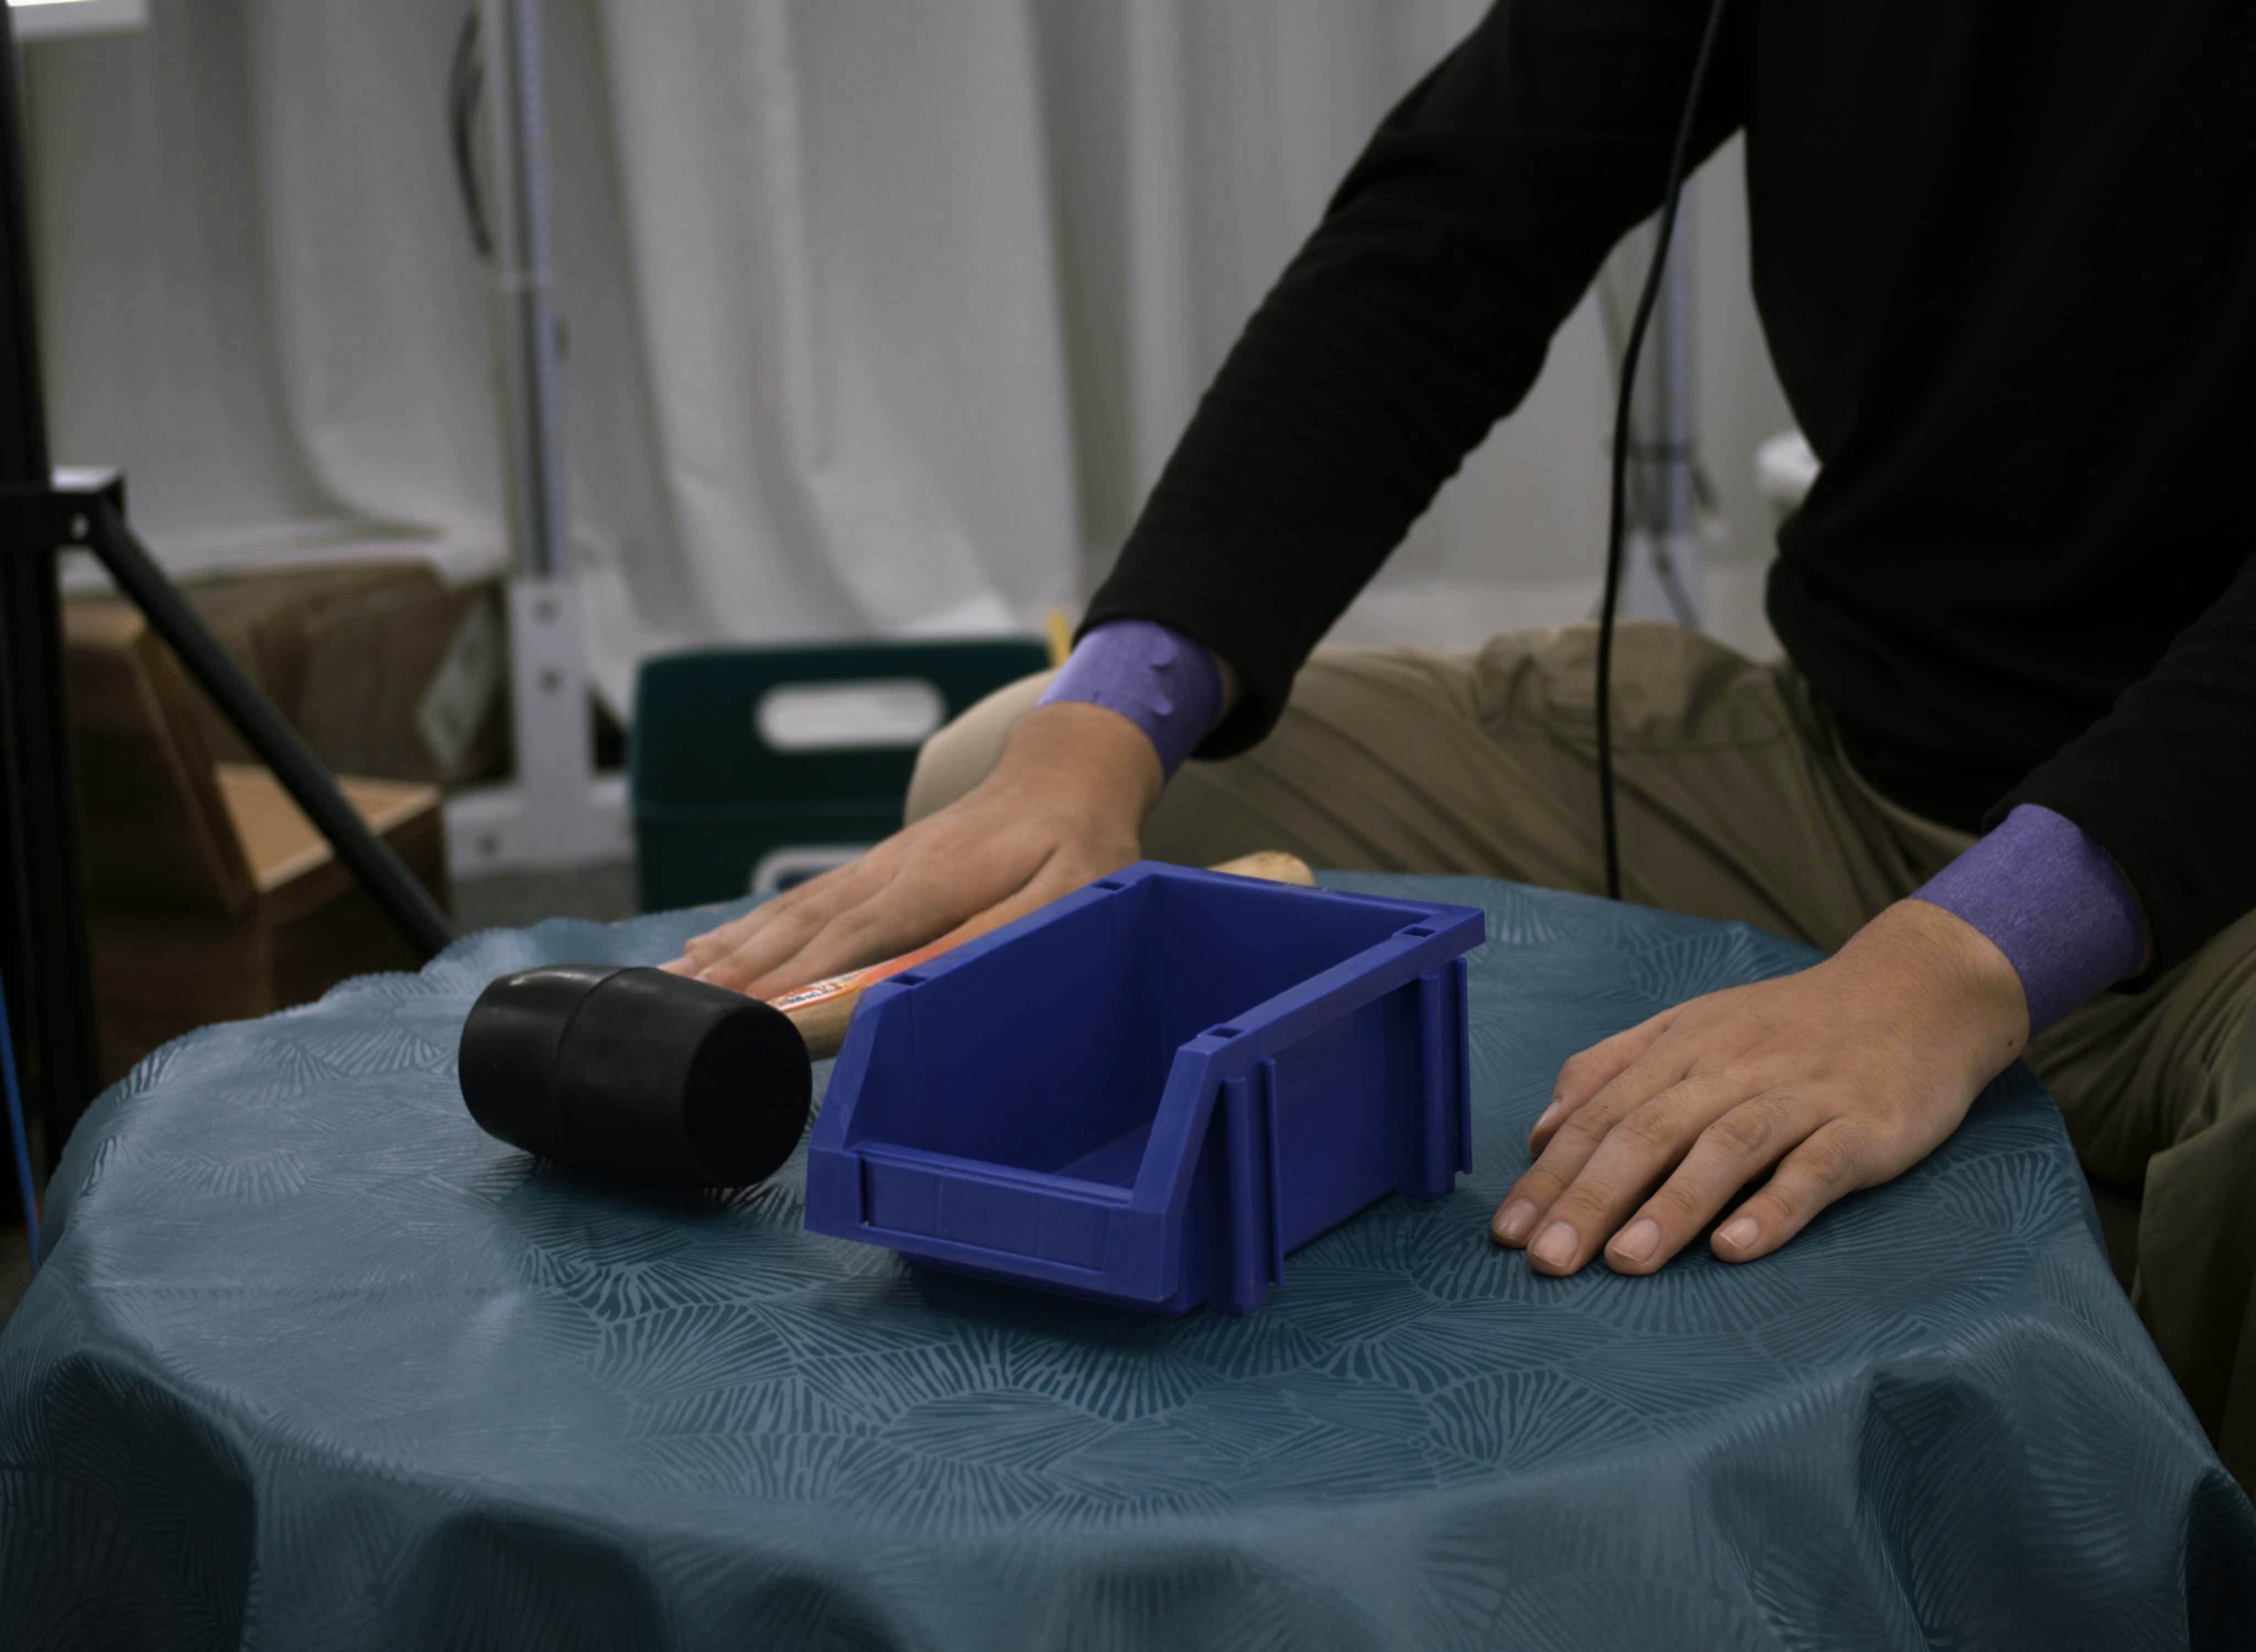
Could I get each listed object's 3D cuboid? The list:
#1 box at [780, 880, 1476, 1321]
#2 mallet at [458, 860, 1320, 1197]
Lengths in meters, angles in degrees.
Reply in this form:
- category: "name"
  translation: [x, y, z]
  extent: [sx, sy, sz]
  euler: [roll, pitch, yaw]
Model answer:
- category: "box"
  translation: [0.004, 0.080, 1.506]
  extent: [0.127, 0.082, 0.175]
  euler: [9, 16, 35]
- category: "mallet"
  translation: [-0.057, 0.044, 1.680]
  extent: [0.104, 0.064, 0.331]
  euler: [12, 21, 41]
